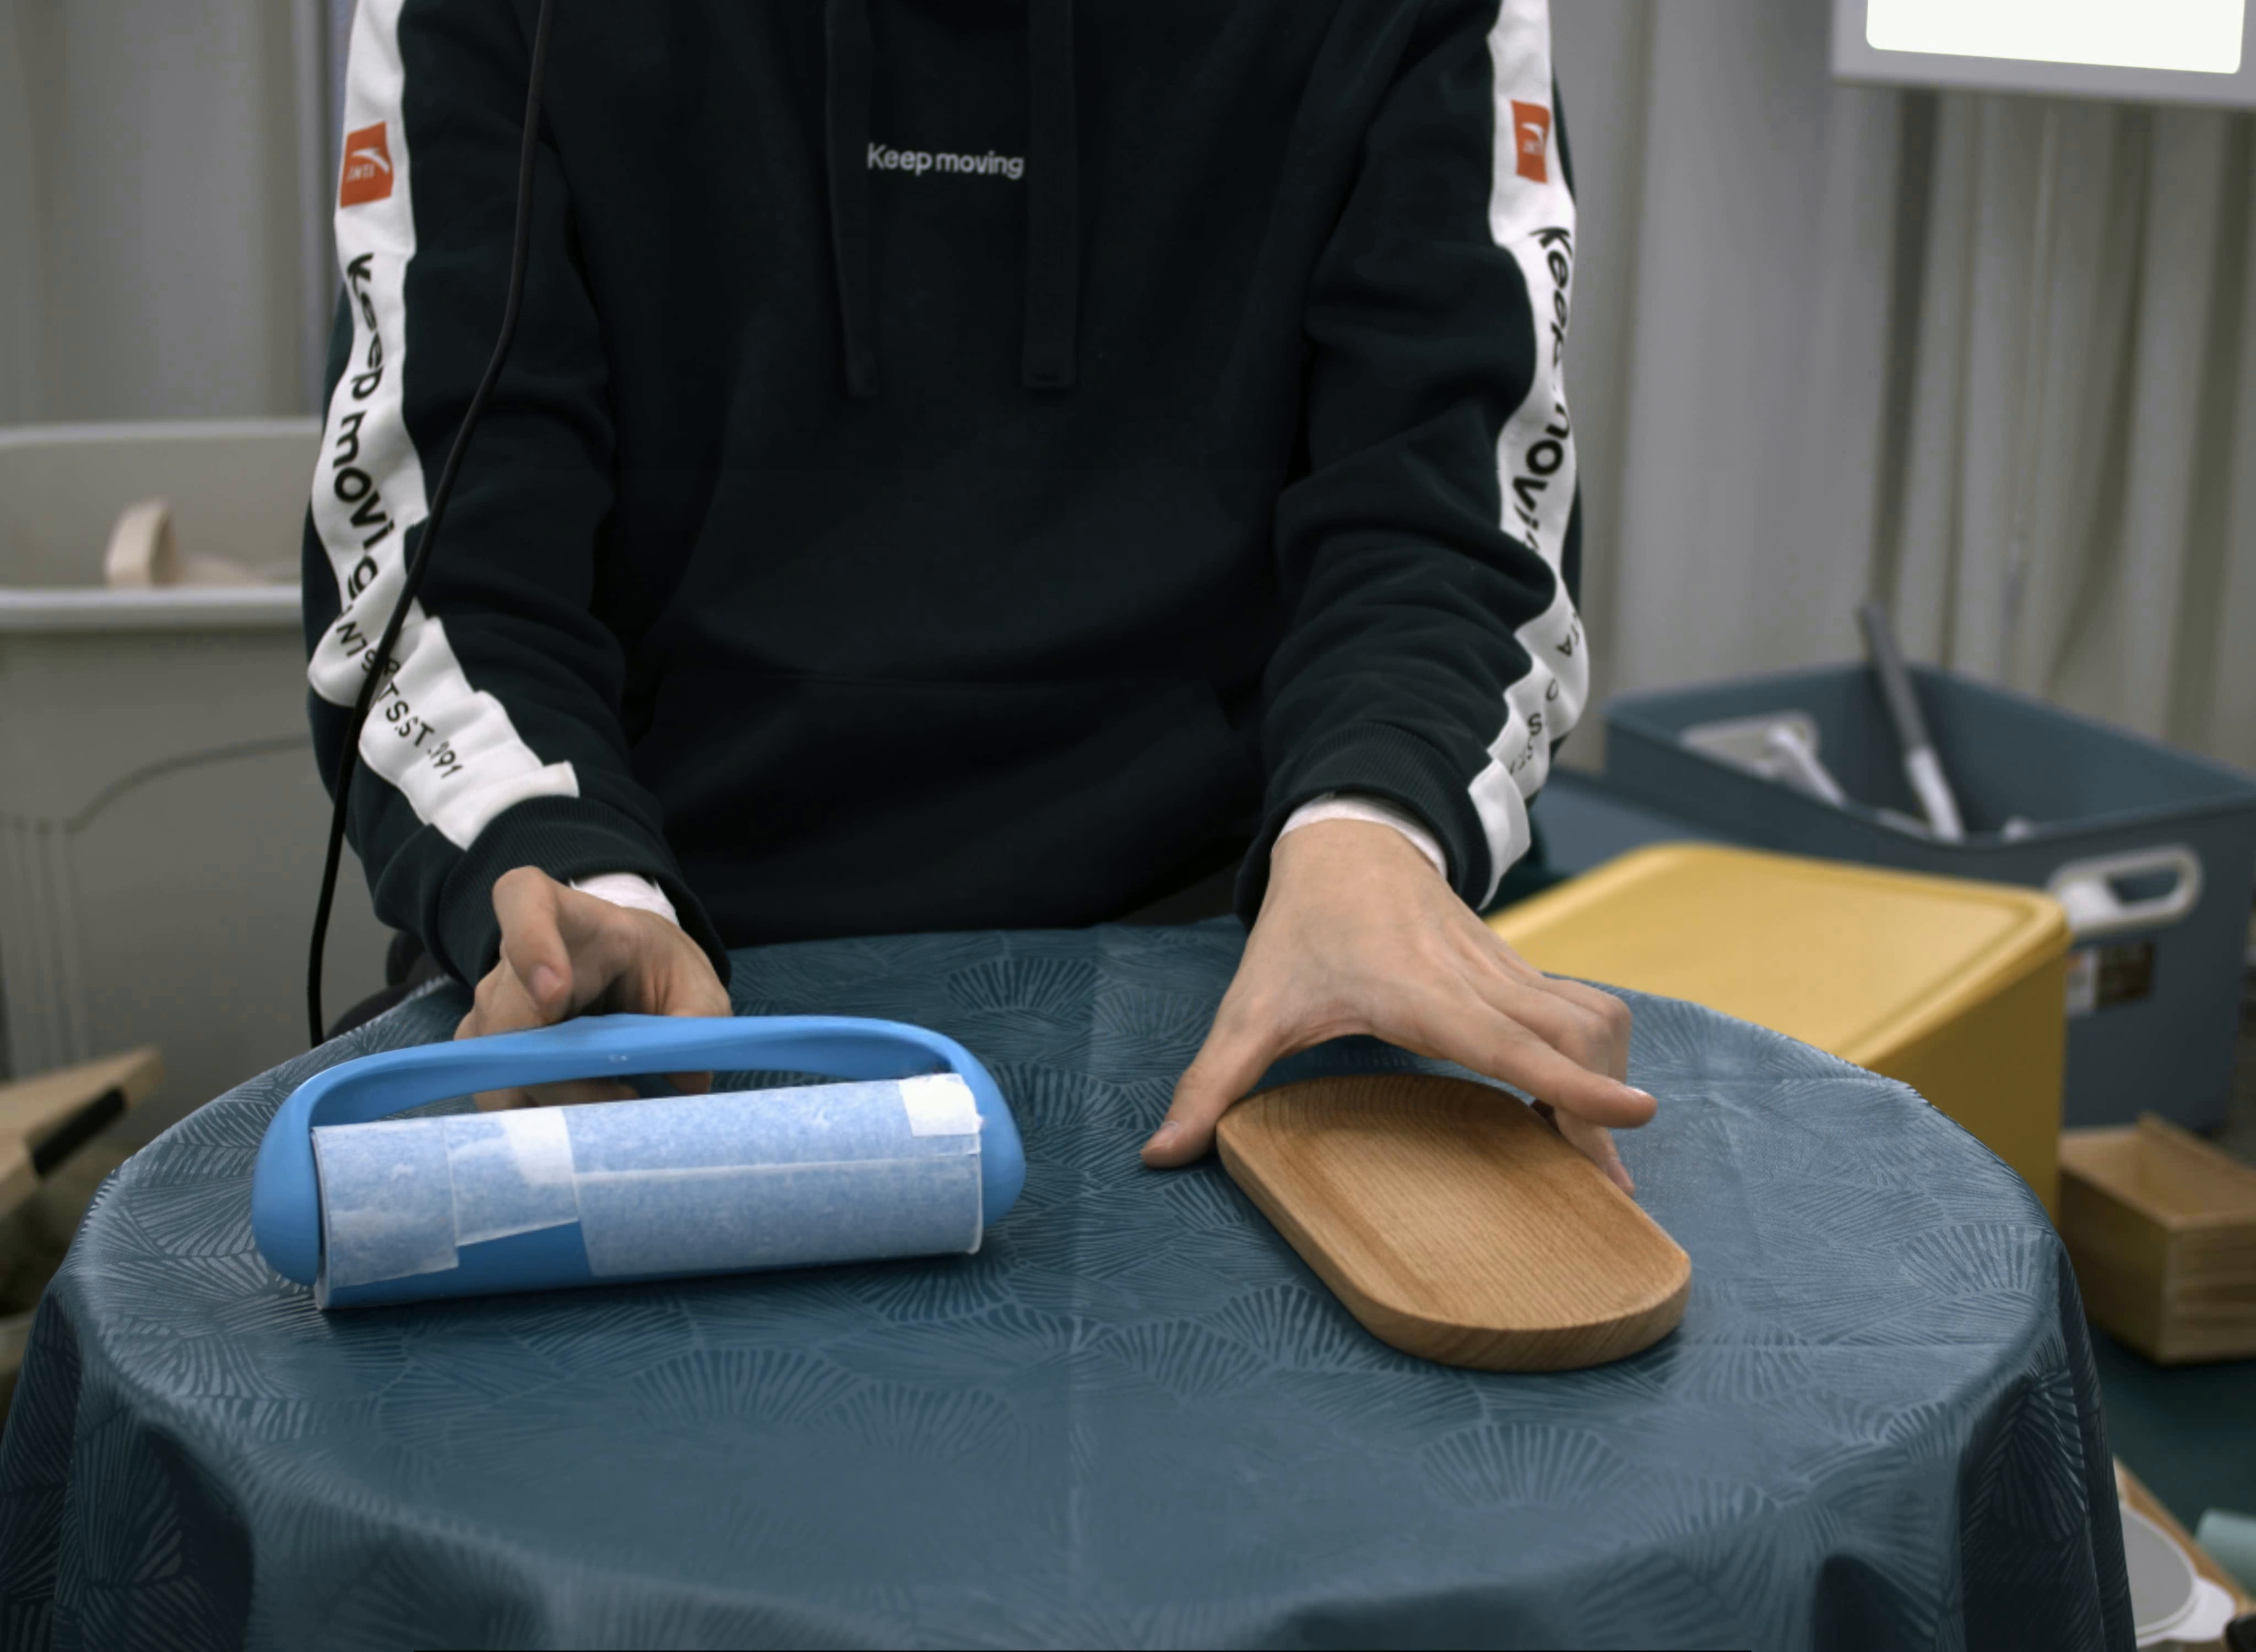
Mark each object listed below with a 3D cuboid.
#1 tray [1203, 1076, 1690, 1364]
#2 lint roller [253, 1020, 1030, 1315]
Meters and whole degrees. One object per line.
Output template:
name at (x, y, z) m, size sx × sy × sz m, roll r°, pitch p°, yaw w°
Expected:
tray at (0.093, 0.116, 1.580) m, size 0.102 × 0.020 × 0.229 m, roll -4°, pitch 14°, yaw -16°
lint roller at (-0.158, 0.090, 1.588) m, size 0.229 × 0.068 × 0.178 m, roll -6°, pitch 18°, yaw -17°
